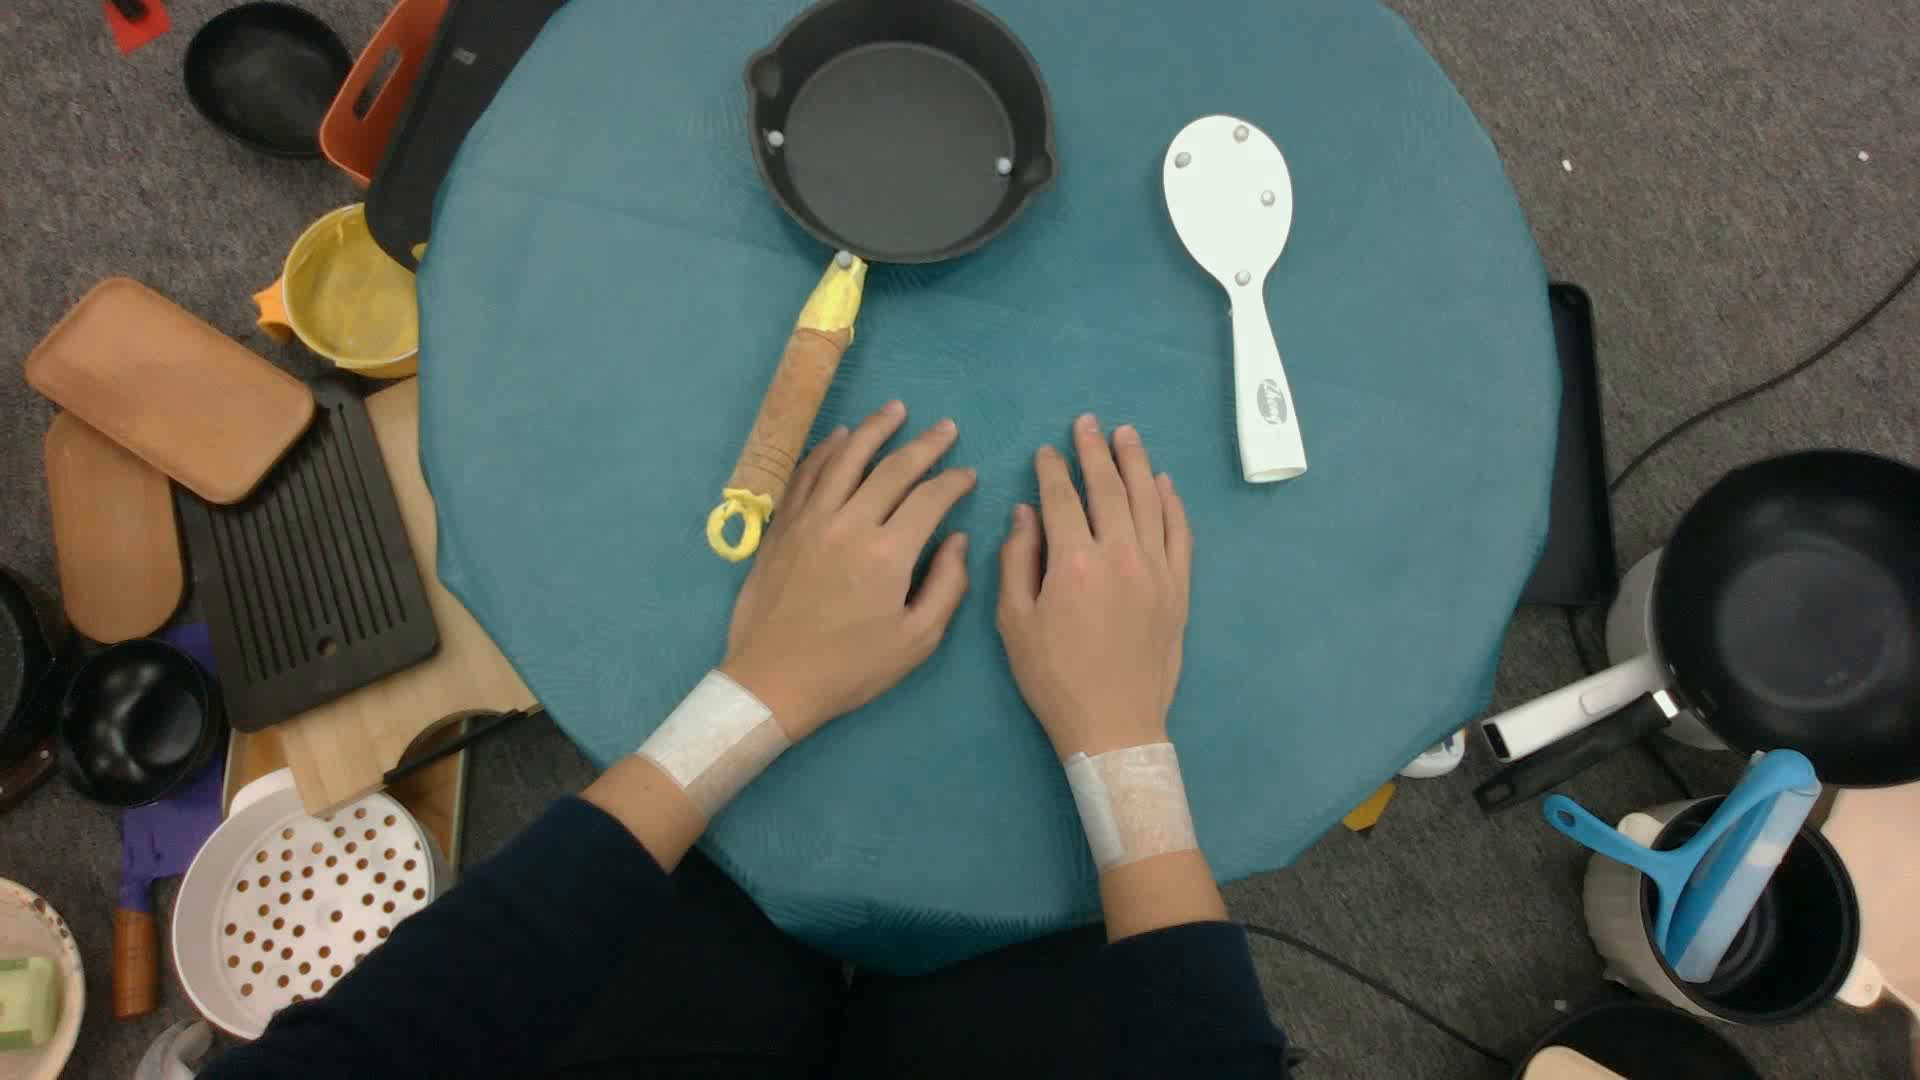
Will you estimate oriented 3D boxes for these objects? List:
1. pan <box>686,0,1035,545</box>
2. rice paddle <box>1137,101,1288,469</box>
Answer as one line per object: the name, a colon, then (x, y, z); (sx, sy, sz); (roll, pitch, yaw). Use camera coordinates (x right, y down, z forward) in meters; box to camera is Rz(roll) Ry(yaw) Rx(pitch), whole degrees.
pan: (-0.070, -0.145, 0.694); (0.169, 0.049, 0.325); (21, 75, -1)
rice paddle: (0.138, -0.140, 0.726); (0.069, 0.029, 0.205); (-7, 79, -9)
